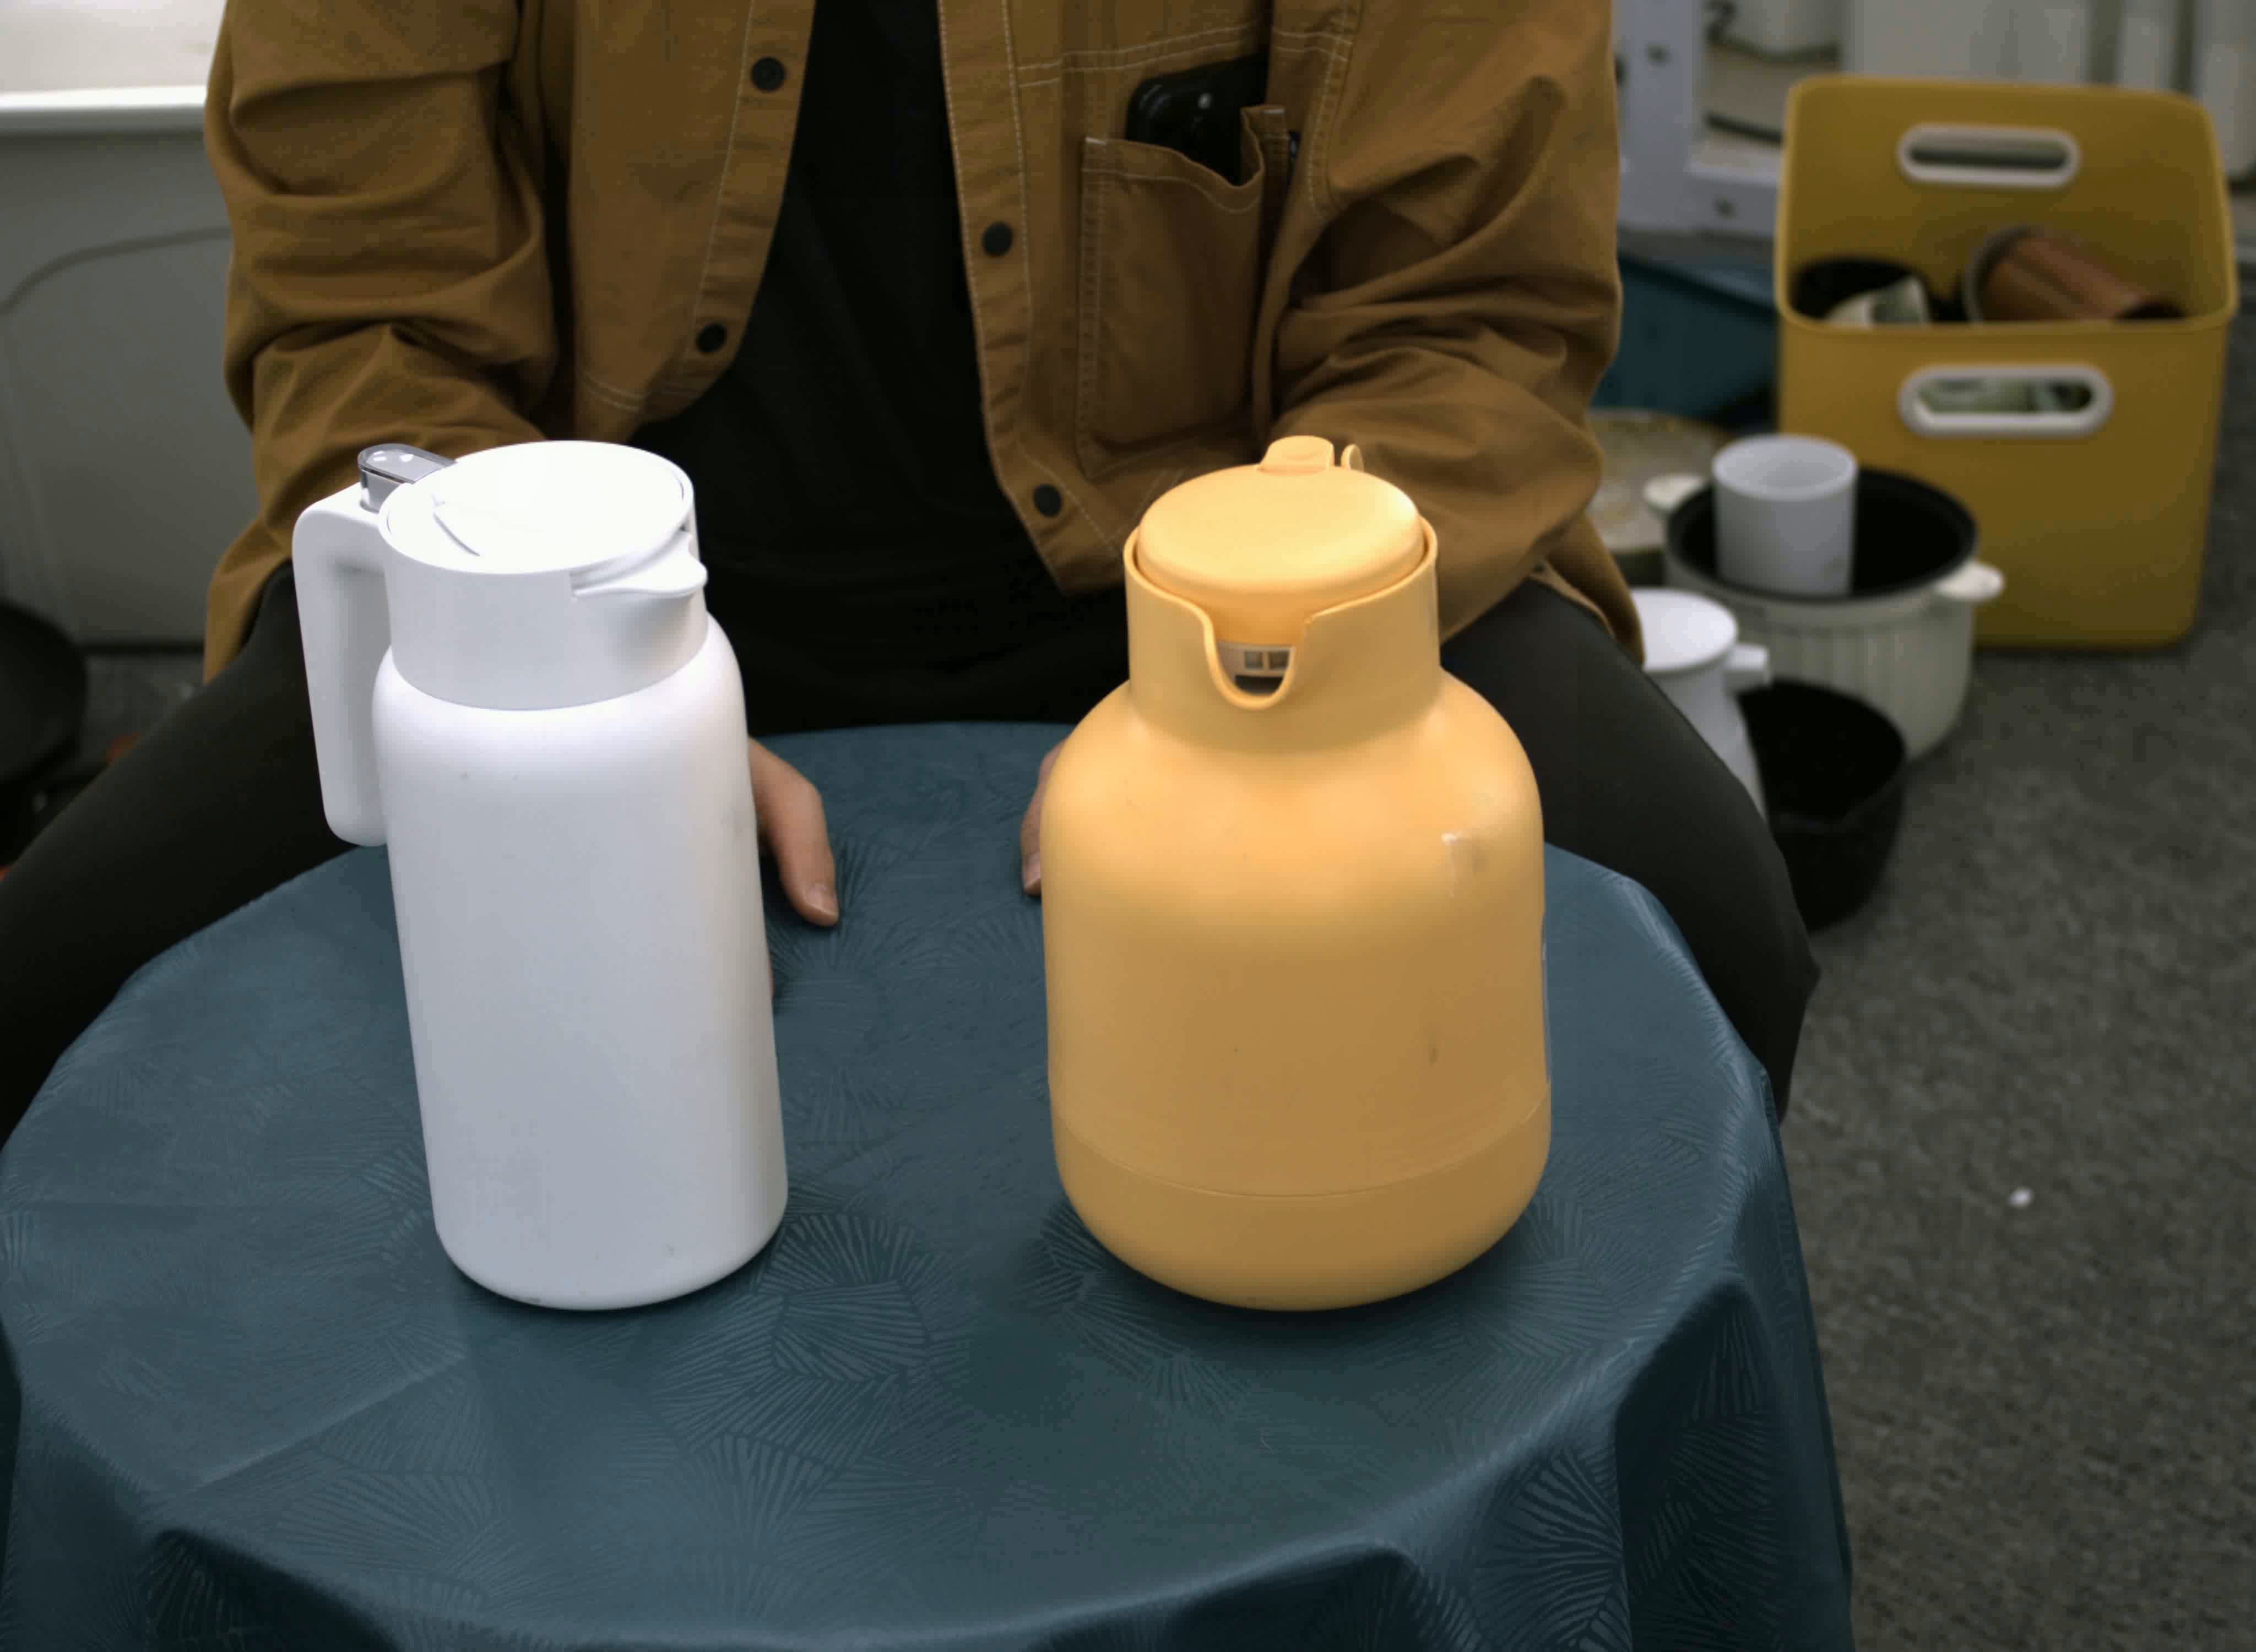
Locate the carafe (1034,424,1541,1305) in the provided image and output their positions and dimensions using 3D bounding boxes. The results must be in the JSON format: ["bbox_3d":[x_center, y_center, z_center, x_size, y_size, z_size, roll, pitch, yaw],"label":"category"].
[{"bbox_3d":[0.055,0.003,1.800,0.162,0.257,0.206,5,29,9],"label":"carafe"}]

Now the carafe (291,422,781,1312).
[{"bbox_3d":[-0.191,0.011,1.803,0.172,0.266,0.125,17,34,35],"label":"carafe"}]
